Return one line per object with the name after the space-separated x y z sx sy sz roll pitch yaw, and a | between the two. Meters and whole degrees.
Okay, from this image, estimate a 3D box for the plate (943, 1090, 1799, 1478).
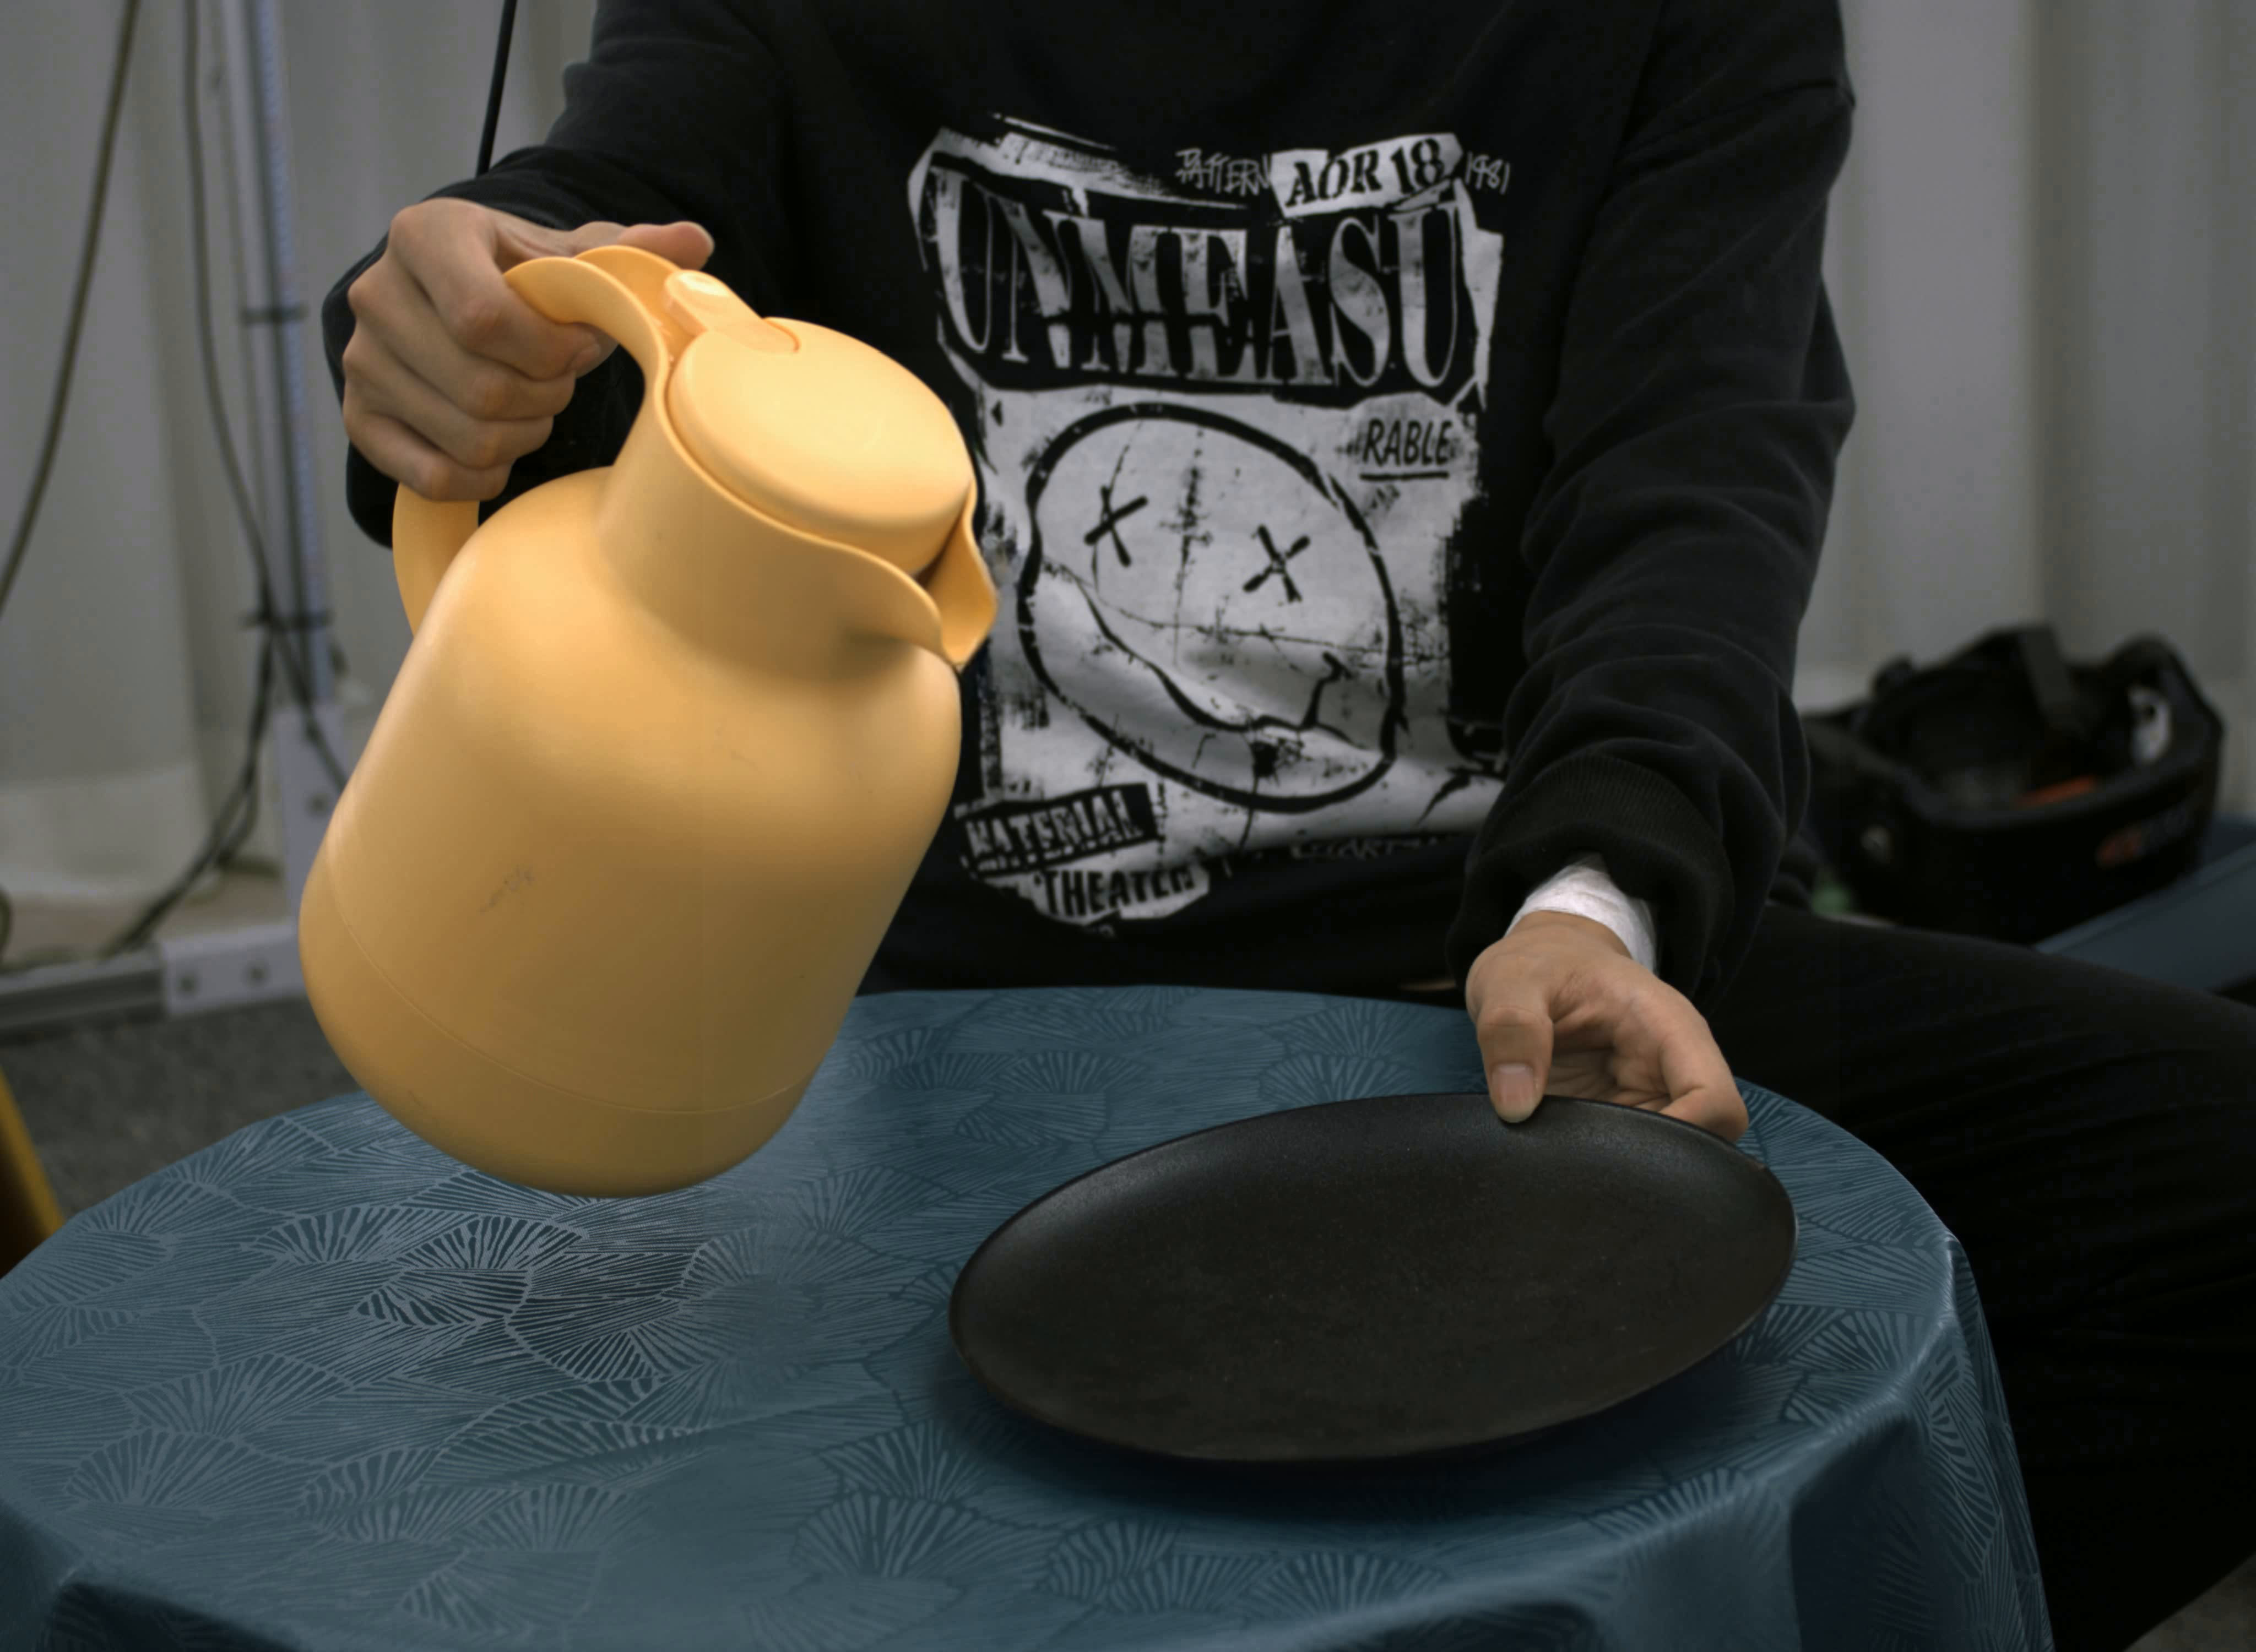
0.069 0.133 1.548 0.243 0.023 0.246 -6 20 2 | plate

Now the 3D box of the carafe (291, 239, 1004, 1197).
-0.143 -0.039 1.597 0.163 0.258 0.204 -12 51 -47 | carafe
